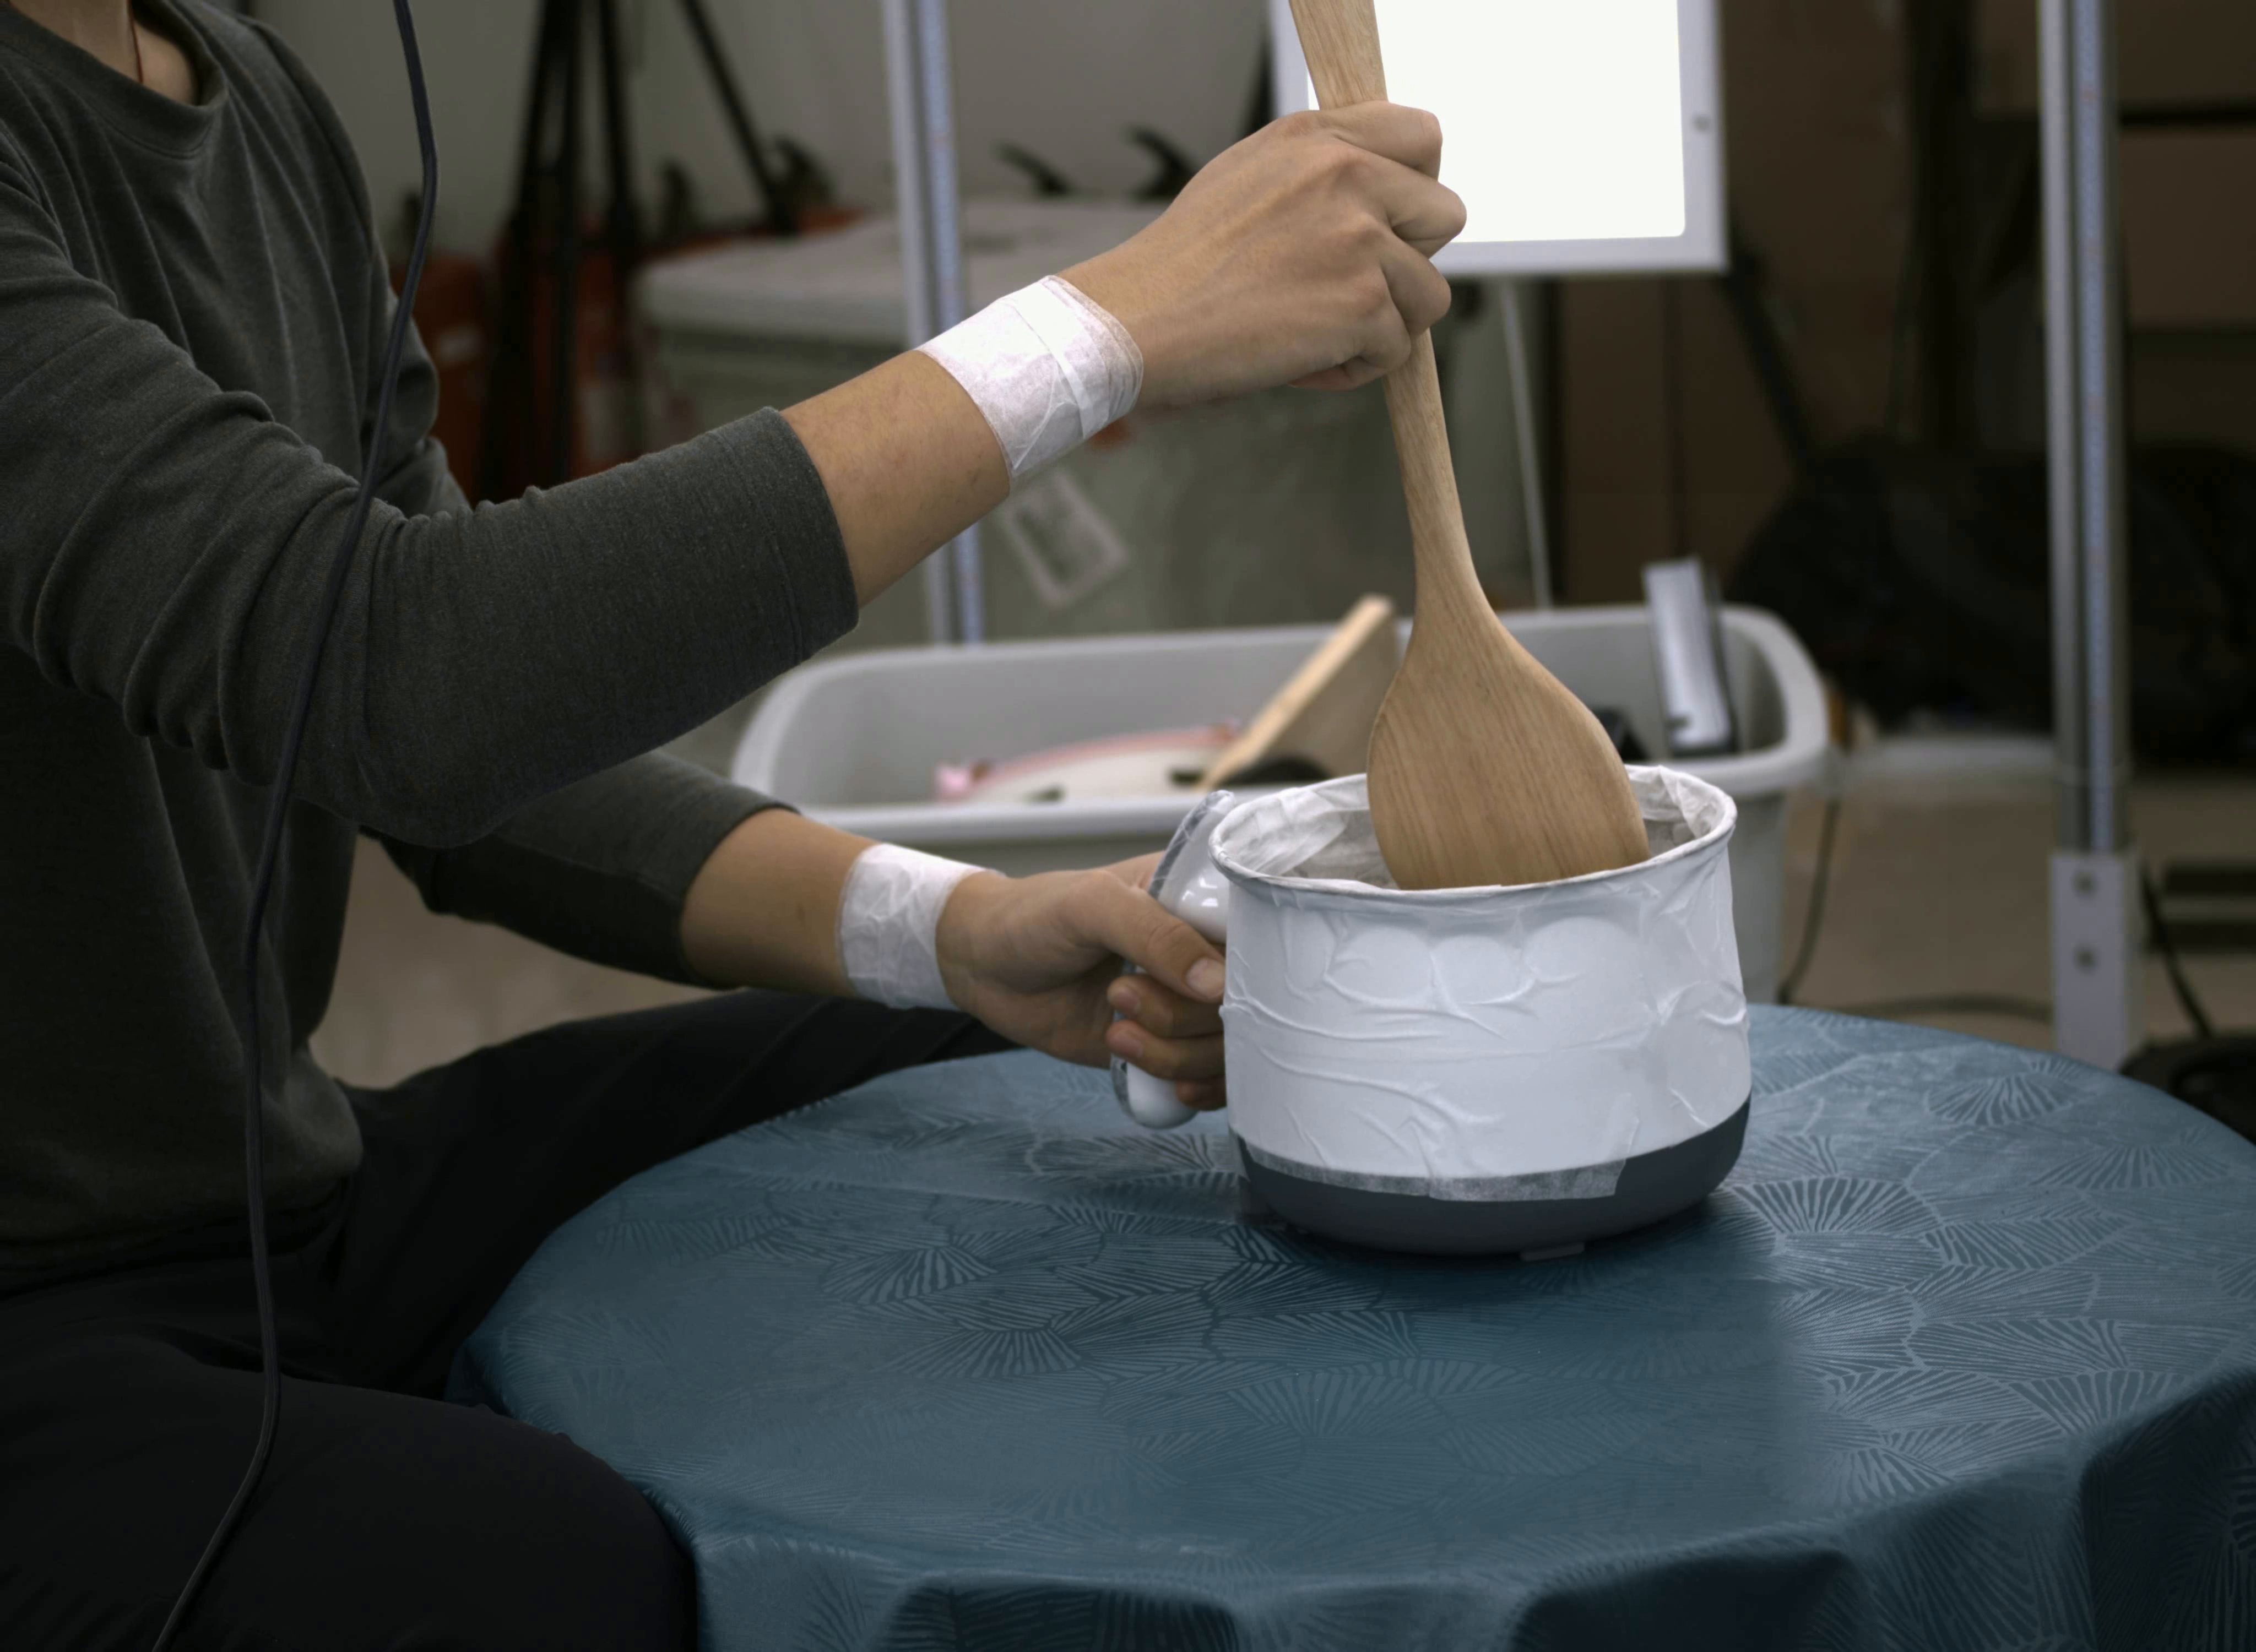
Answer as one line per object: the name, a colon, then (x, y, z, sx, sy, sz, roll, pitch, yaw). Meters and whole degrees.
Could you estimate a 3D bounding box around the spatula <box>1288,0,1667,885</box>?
spatula: (0.096, -0.152, 1.790, 0.097, 0.391, 0.018, -7, 14, 24)

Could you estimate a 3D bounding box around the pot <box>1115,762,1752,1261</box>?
pot: (0.096, 0.058, 1.858, 0.238, 0.137, 0.174, 4, 16, 33)
